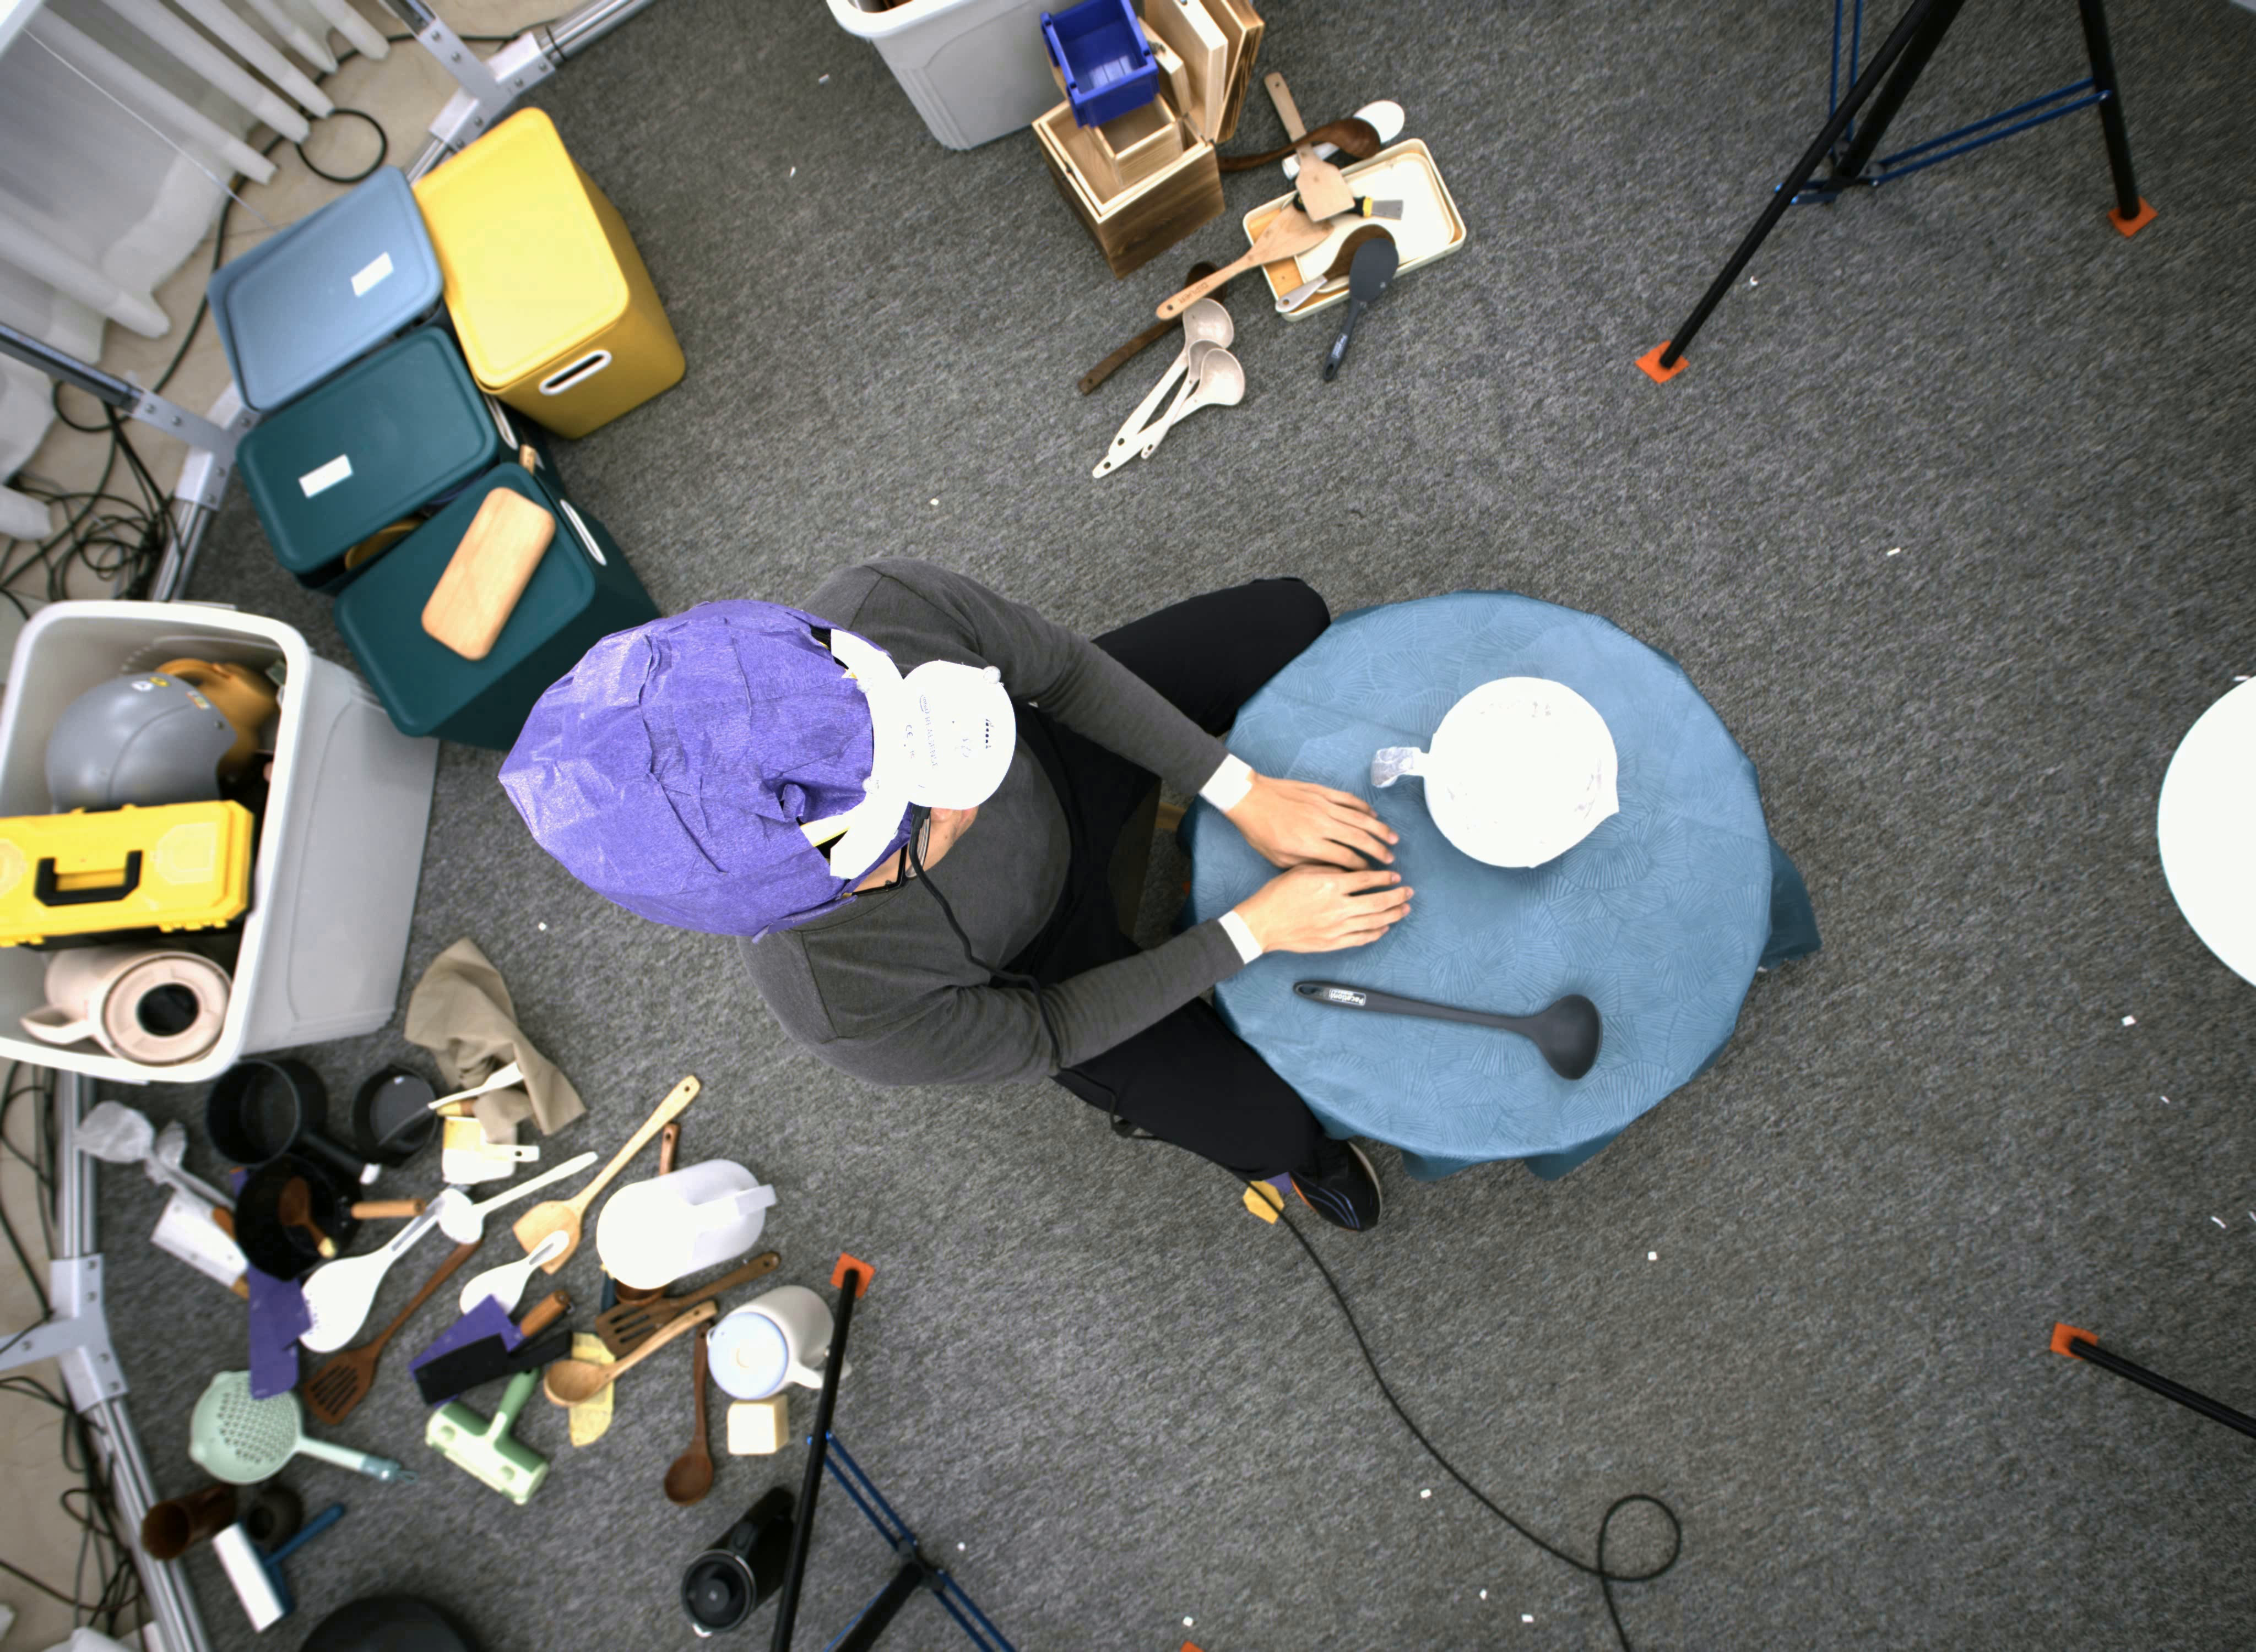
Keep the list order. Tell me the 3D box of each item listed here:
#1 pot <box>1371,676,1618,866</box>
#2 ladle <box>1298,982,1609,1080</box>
[{"bbox_3d":[0.362,-0.054,1.380,0.234,0.137,0.178,5,86,11],"label":"pot"},{"bbox_3d":[0.328,0.191,1.411,0.315,0.064,0.086,9,87,11],"label":"ladle"}]
